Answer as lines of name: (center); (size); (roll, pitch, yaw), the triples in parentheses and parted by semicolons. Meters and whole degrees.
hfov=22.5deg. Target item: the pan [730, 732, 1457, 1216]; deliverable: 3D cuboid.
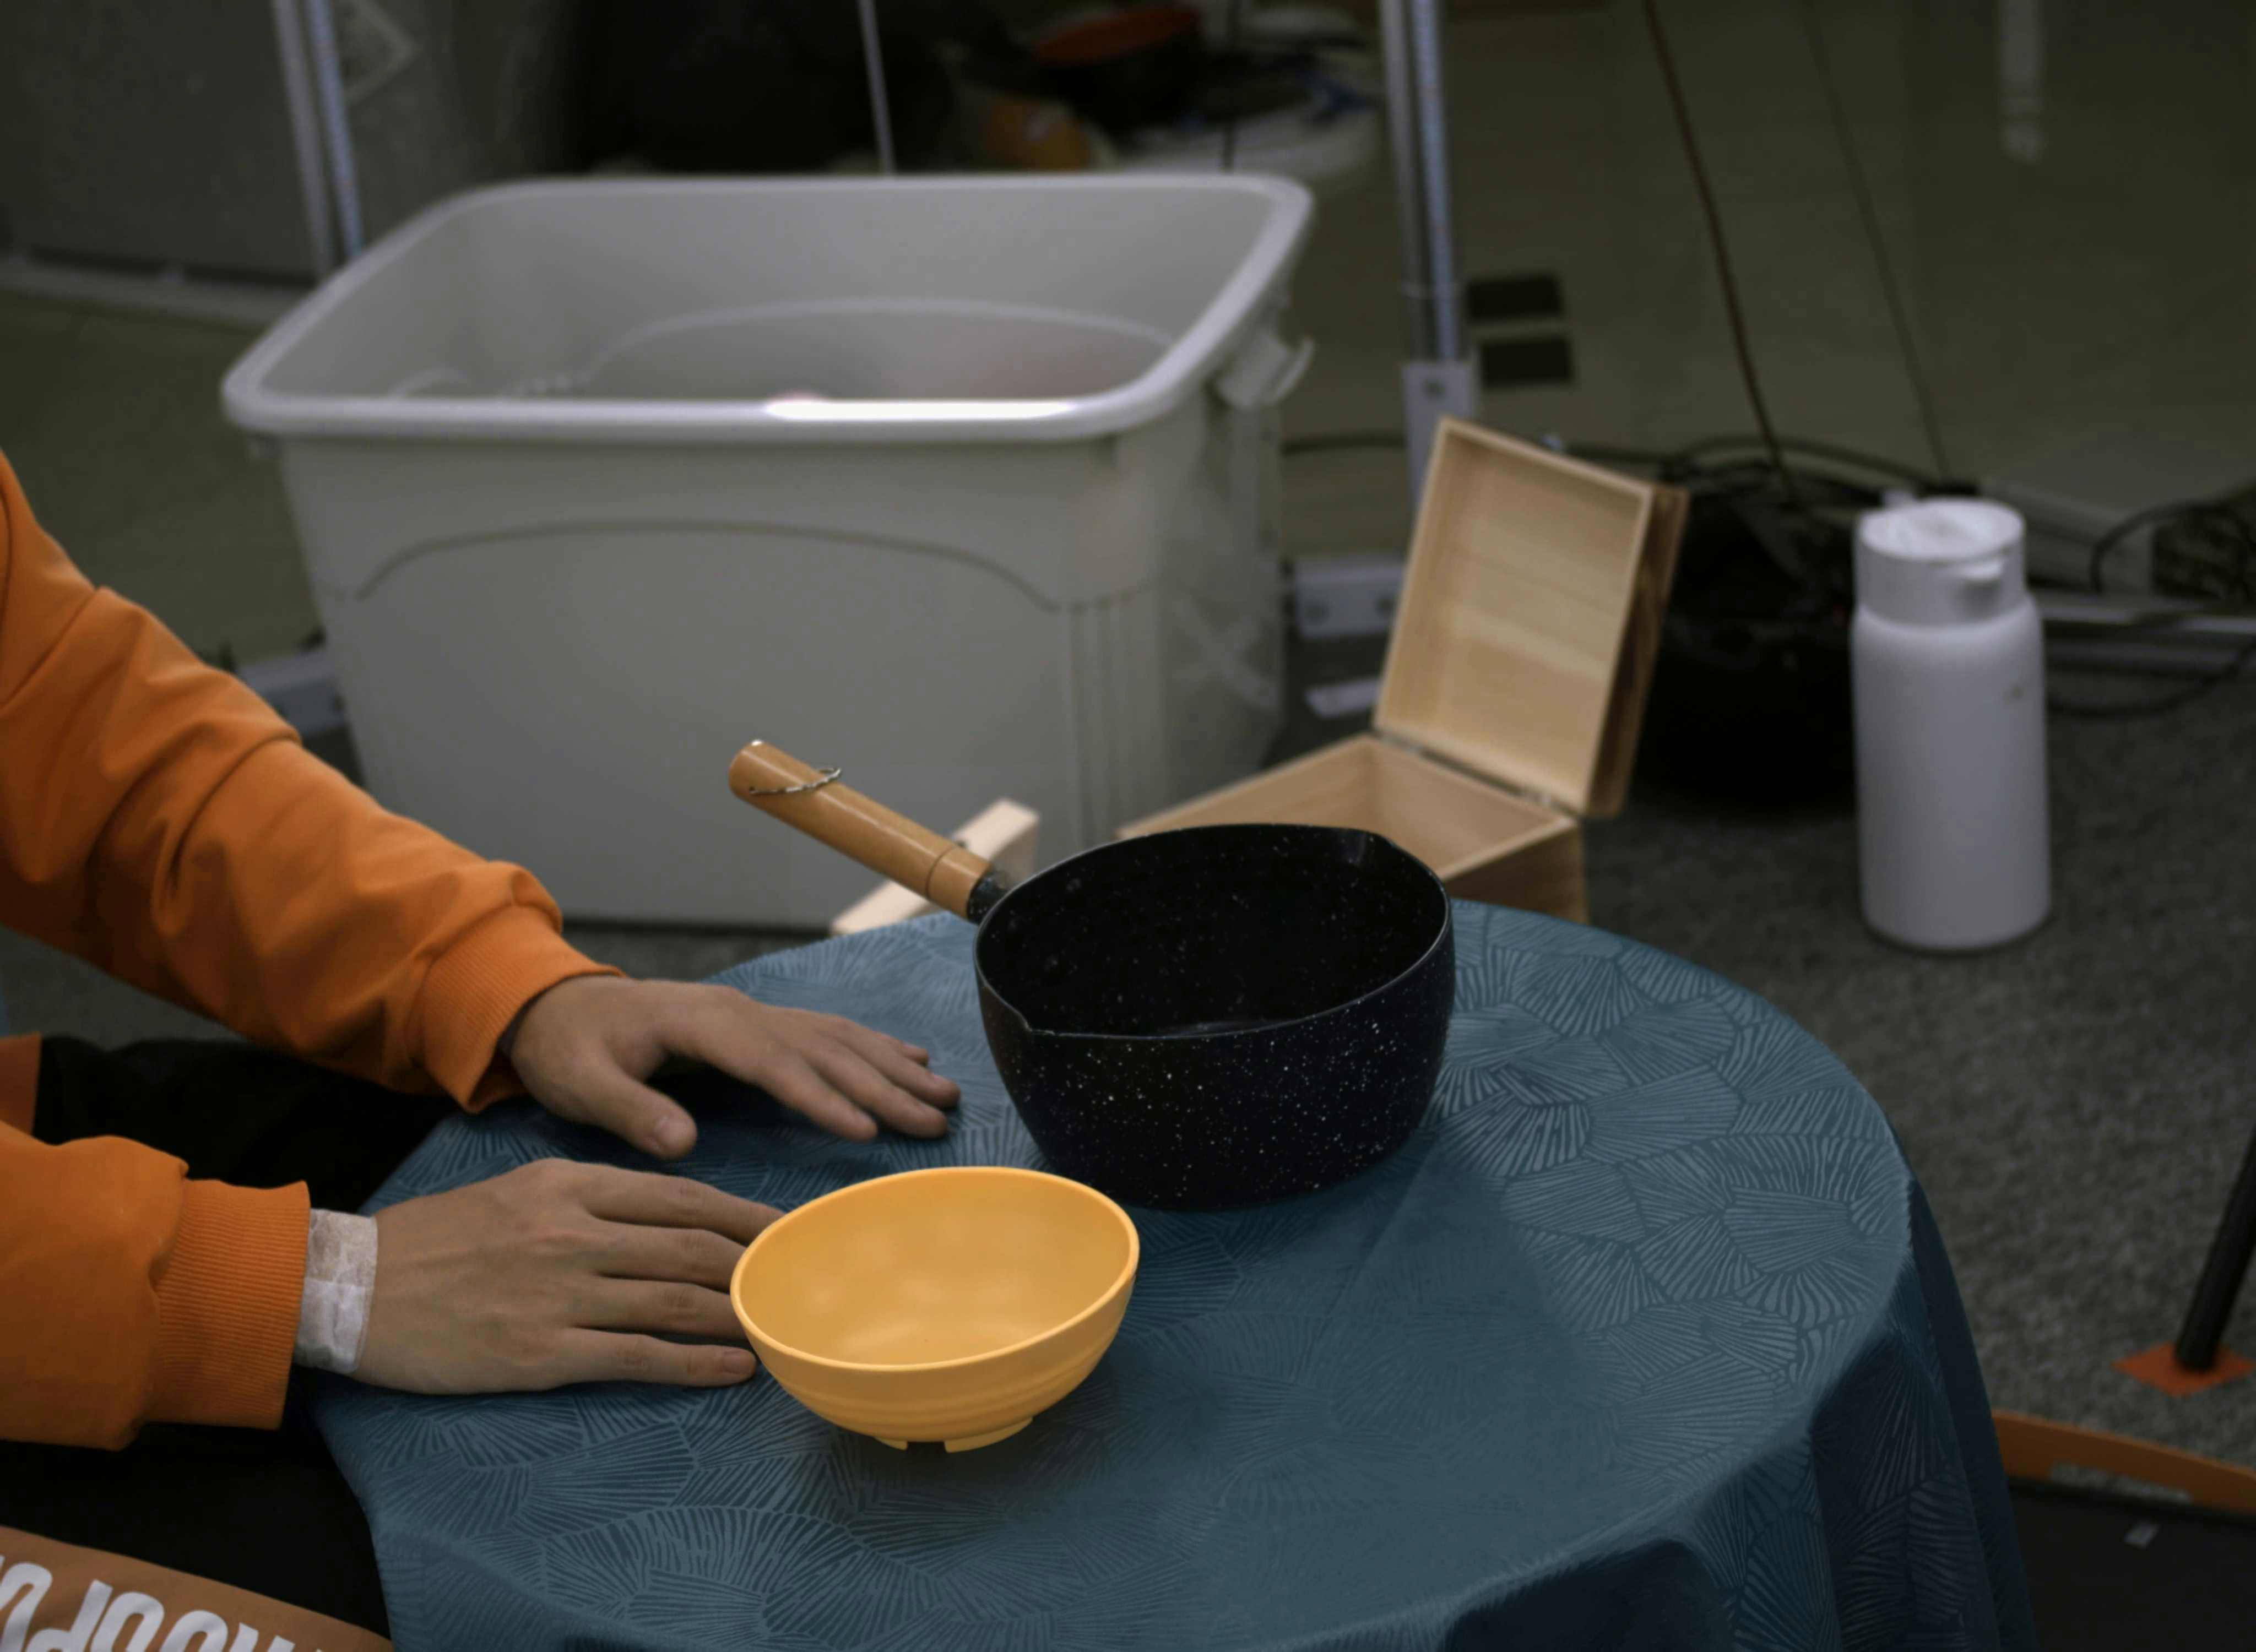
pan: (-0.026, 0.049, 2.216); (0.340, 0.110, 0.205); (16, 35, 37)

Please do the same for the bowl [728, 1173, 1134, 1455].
bowl: (-0.066, 0.180, 2.005); (0.145, 0.061, 0.143); (-5, 24, 3)
